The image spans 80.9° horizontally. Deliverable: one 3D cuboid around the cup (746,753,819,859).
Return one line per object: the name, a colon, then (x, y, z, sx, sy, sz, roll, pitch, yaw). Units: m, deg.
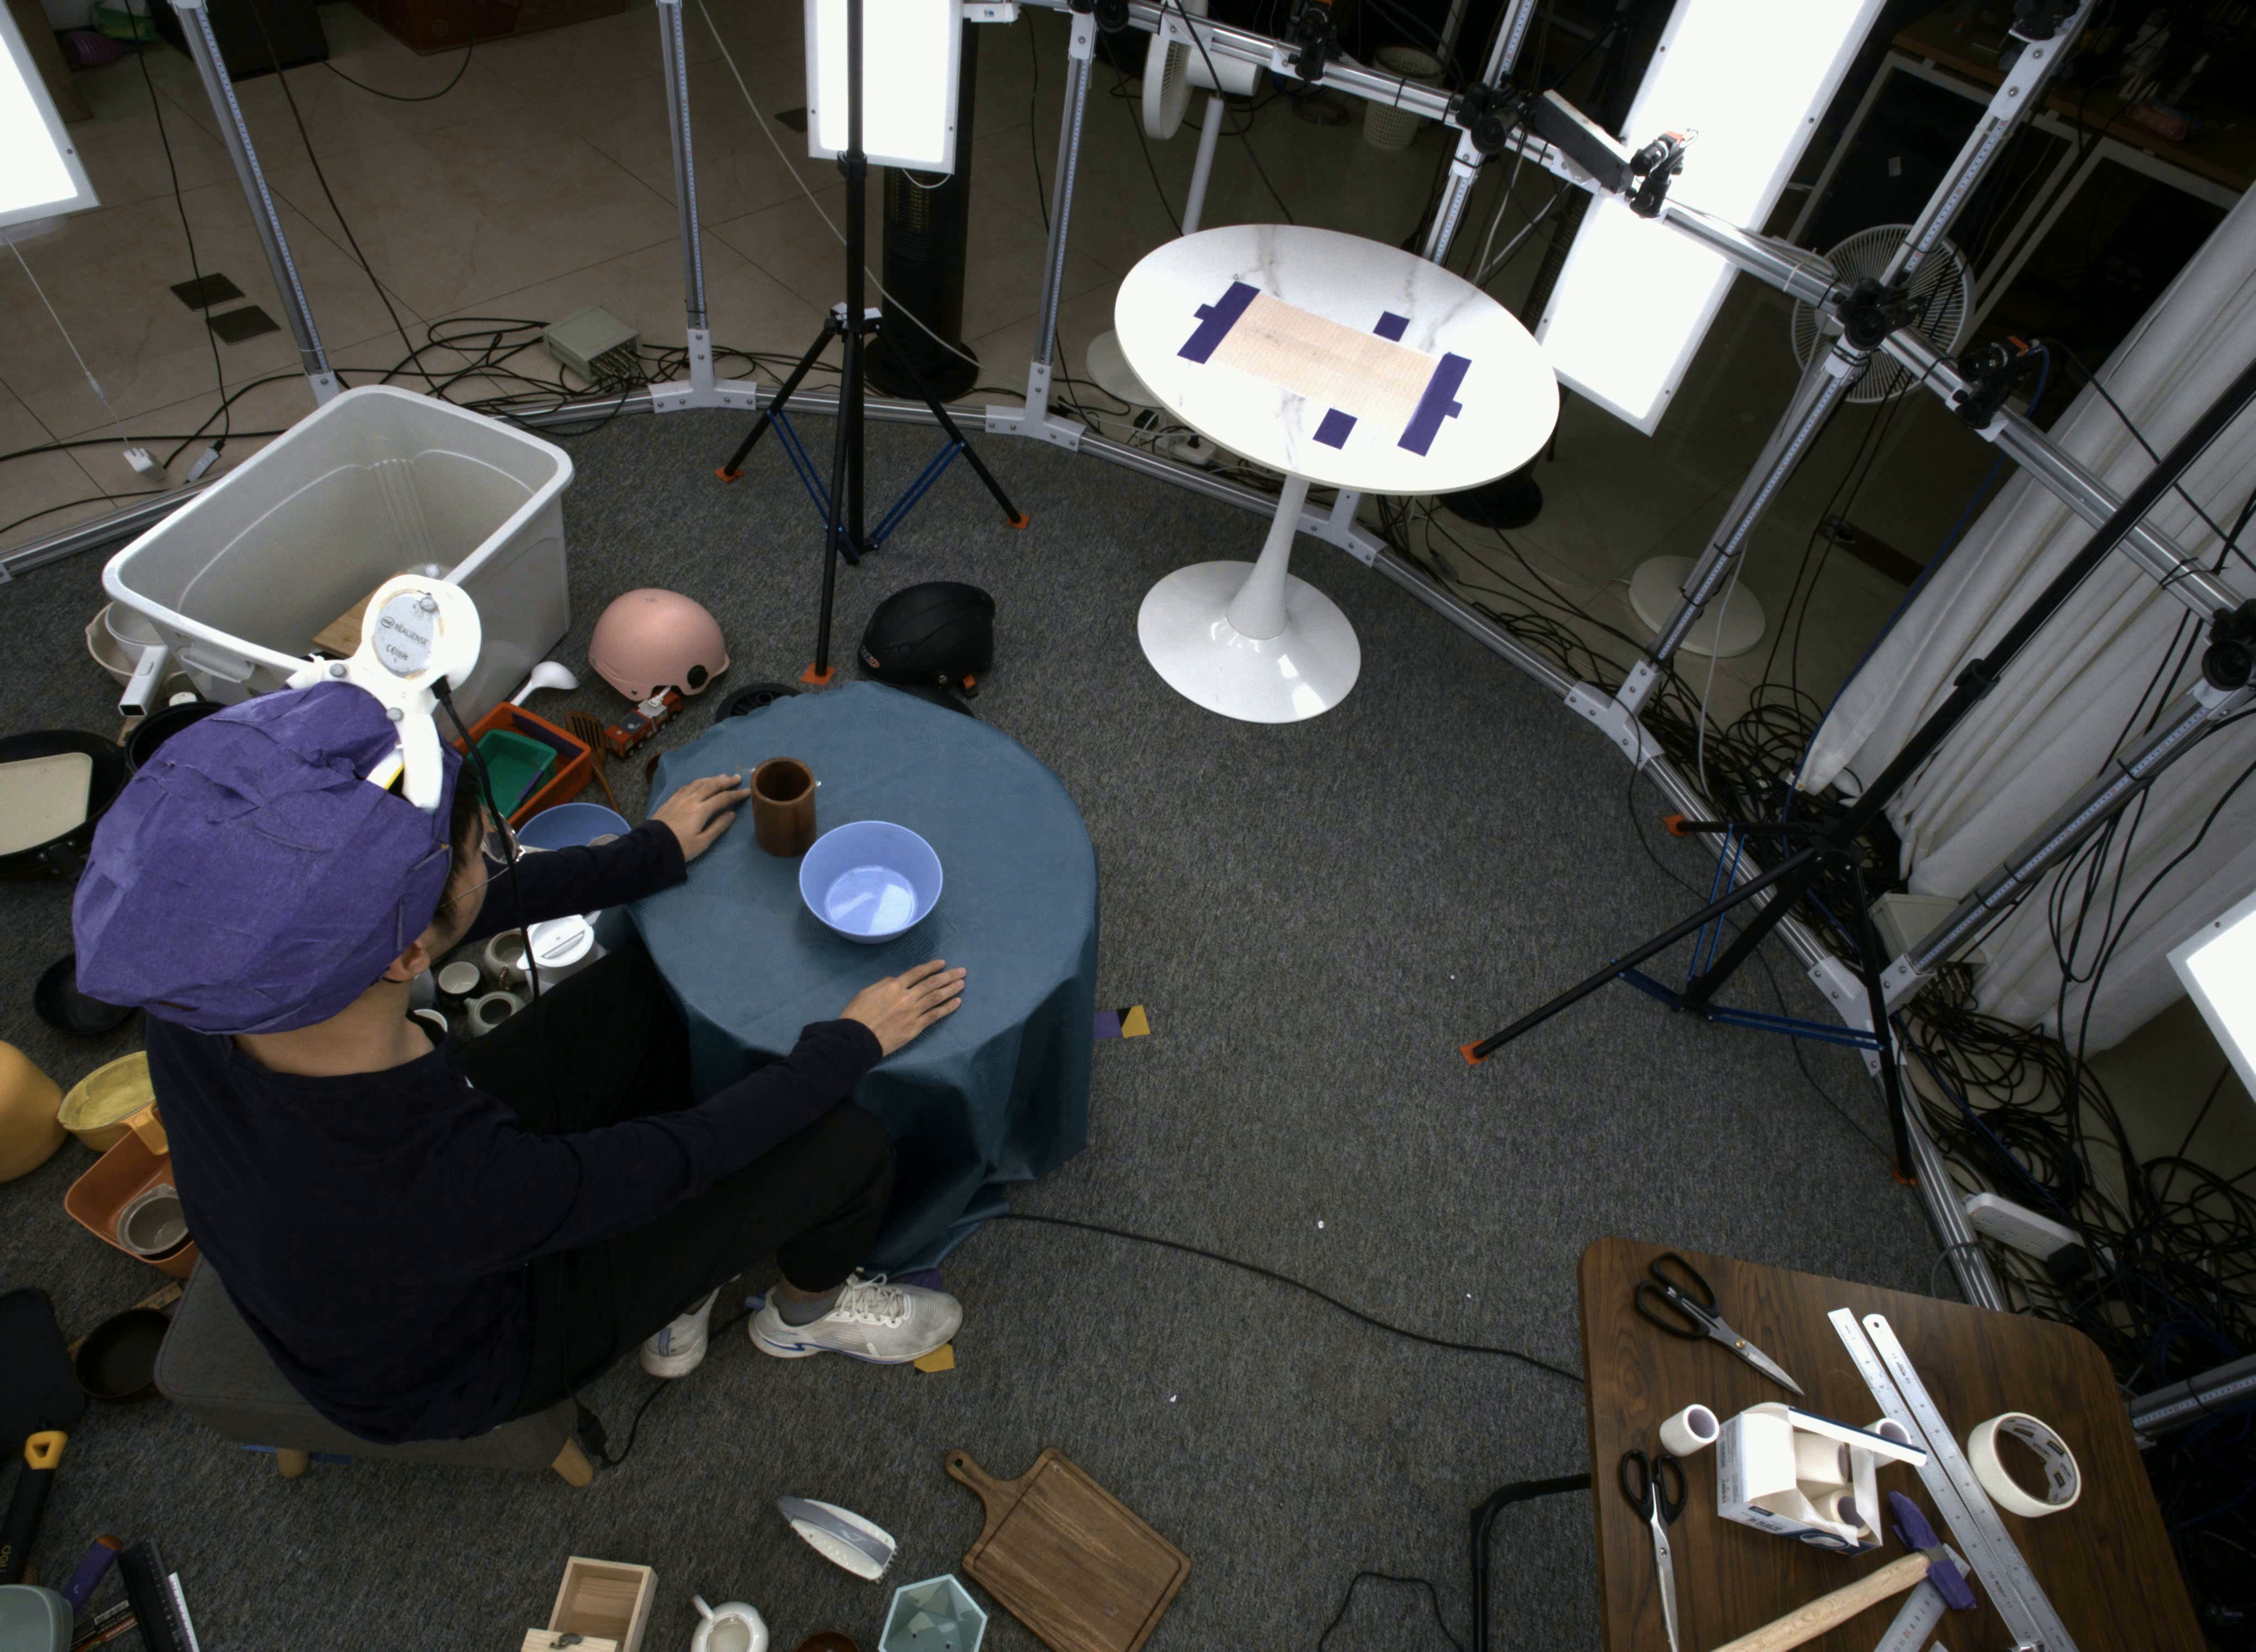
cup: (-0.441, -0.026, 1.666, 0.087, 0.121, 0.086, 5, 53, -5)

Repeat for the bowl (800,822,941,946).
bowl: (-0.324, 0.083, 1.644, 0.175, 0.072, 0.173, 7, 53, -7)
